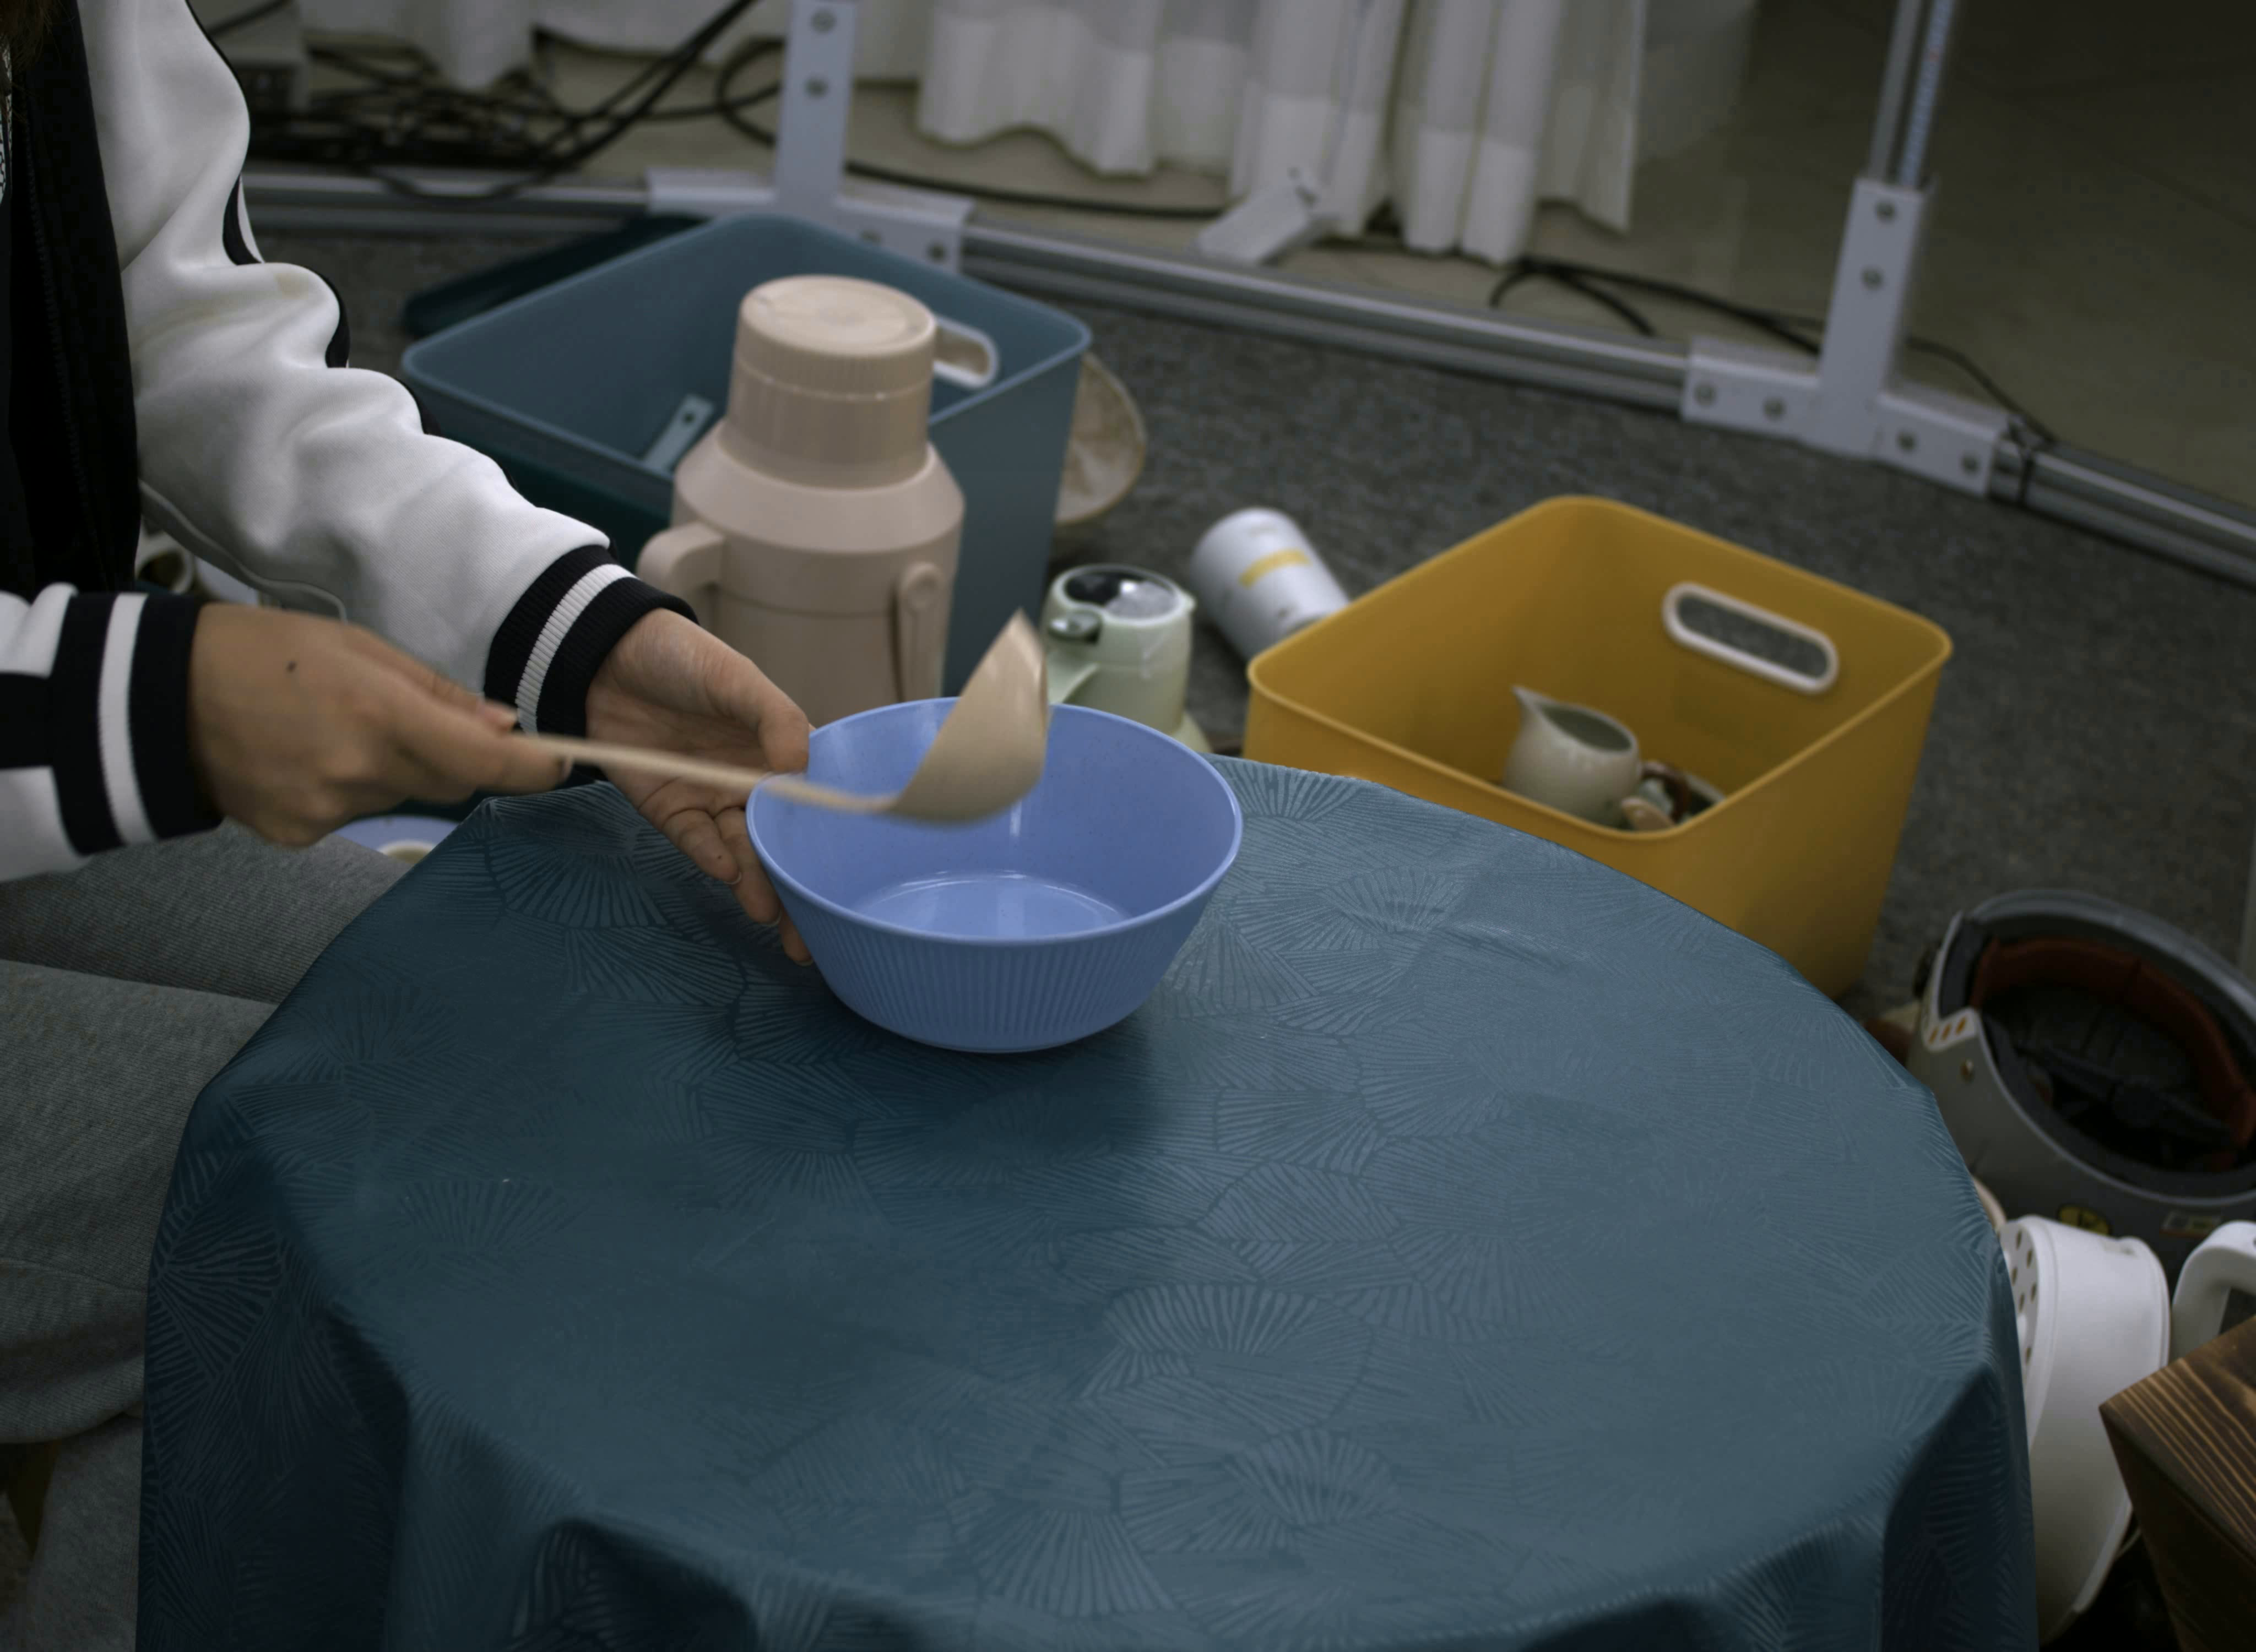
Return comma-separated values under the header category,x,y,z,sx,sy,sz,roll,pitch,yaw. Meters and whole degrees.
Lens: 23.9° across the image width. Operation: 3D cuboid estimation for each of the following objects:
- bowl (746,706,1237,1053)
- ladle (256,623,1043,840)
category,x,y,z,sx,sy,sz,roll,pitch,yaw
bowl,-0.049,0.025,1.900,0.175,0.070,0.177,2,28,-1
ladle,-0.153,-0.043,1.717,0.254,0.073,0.072,7,4,2
